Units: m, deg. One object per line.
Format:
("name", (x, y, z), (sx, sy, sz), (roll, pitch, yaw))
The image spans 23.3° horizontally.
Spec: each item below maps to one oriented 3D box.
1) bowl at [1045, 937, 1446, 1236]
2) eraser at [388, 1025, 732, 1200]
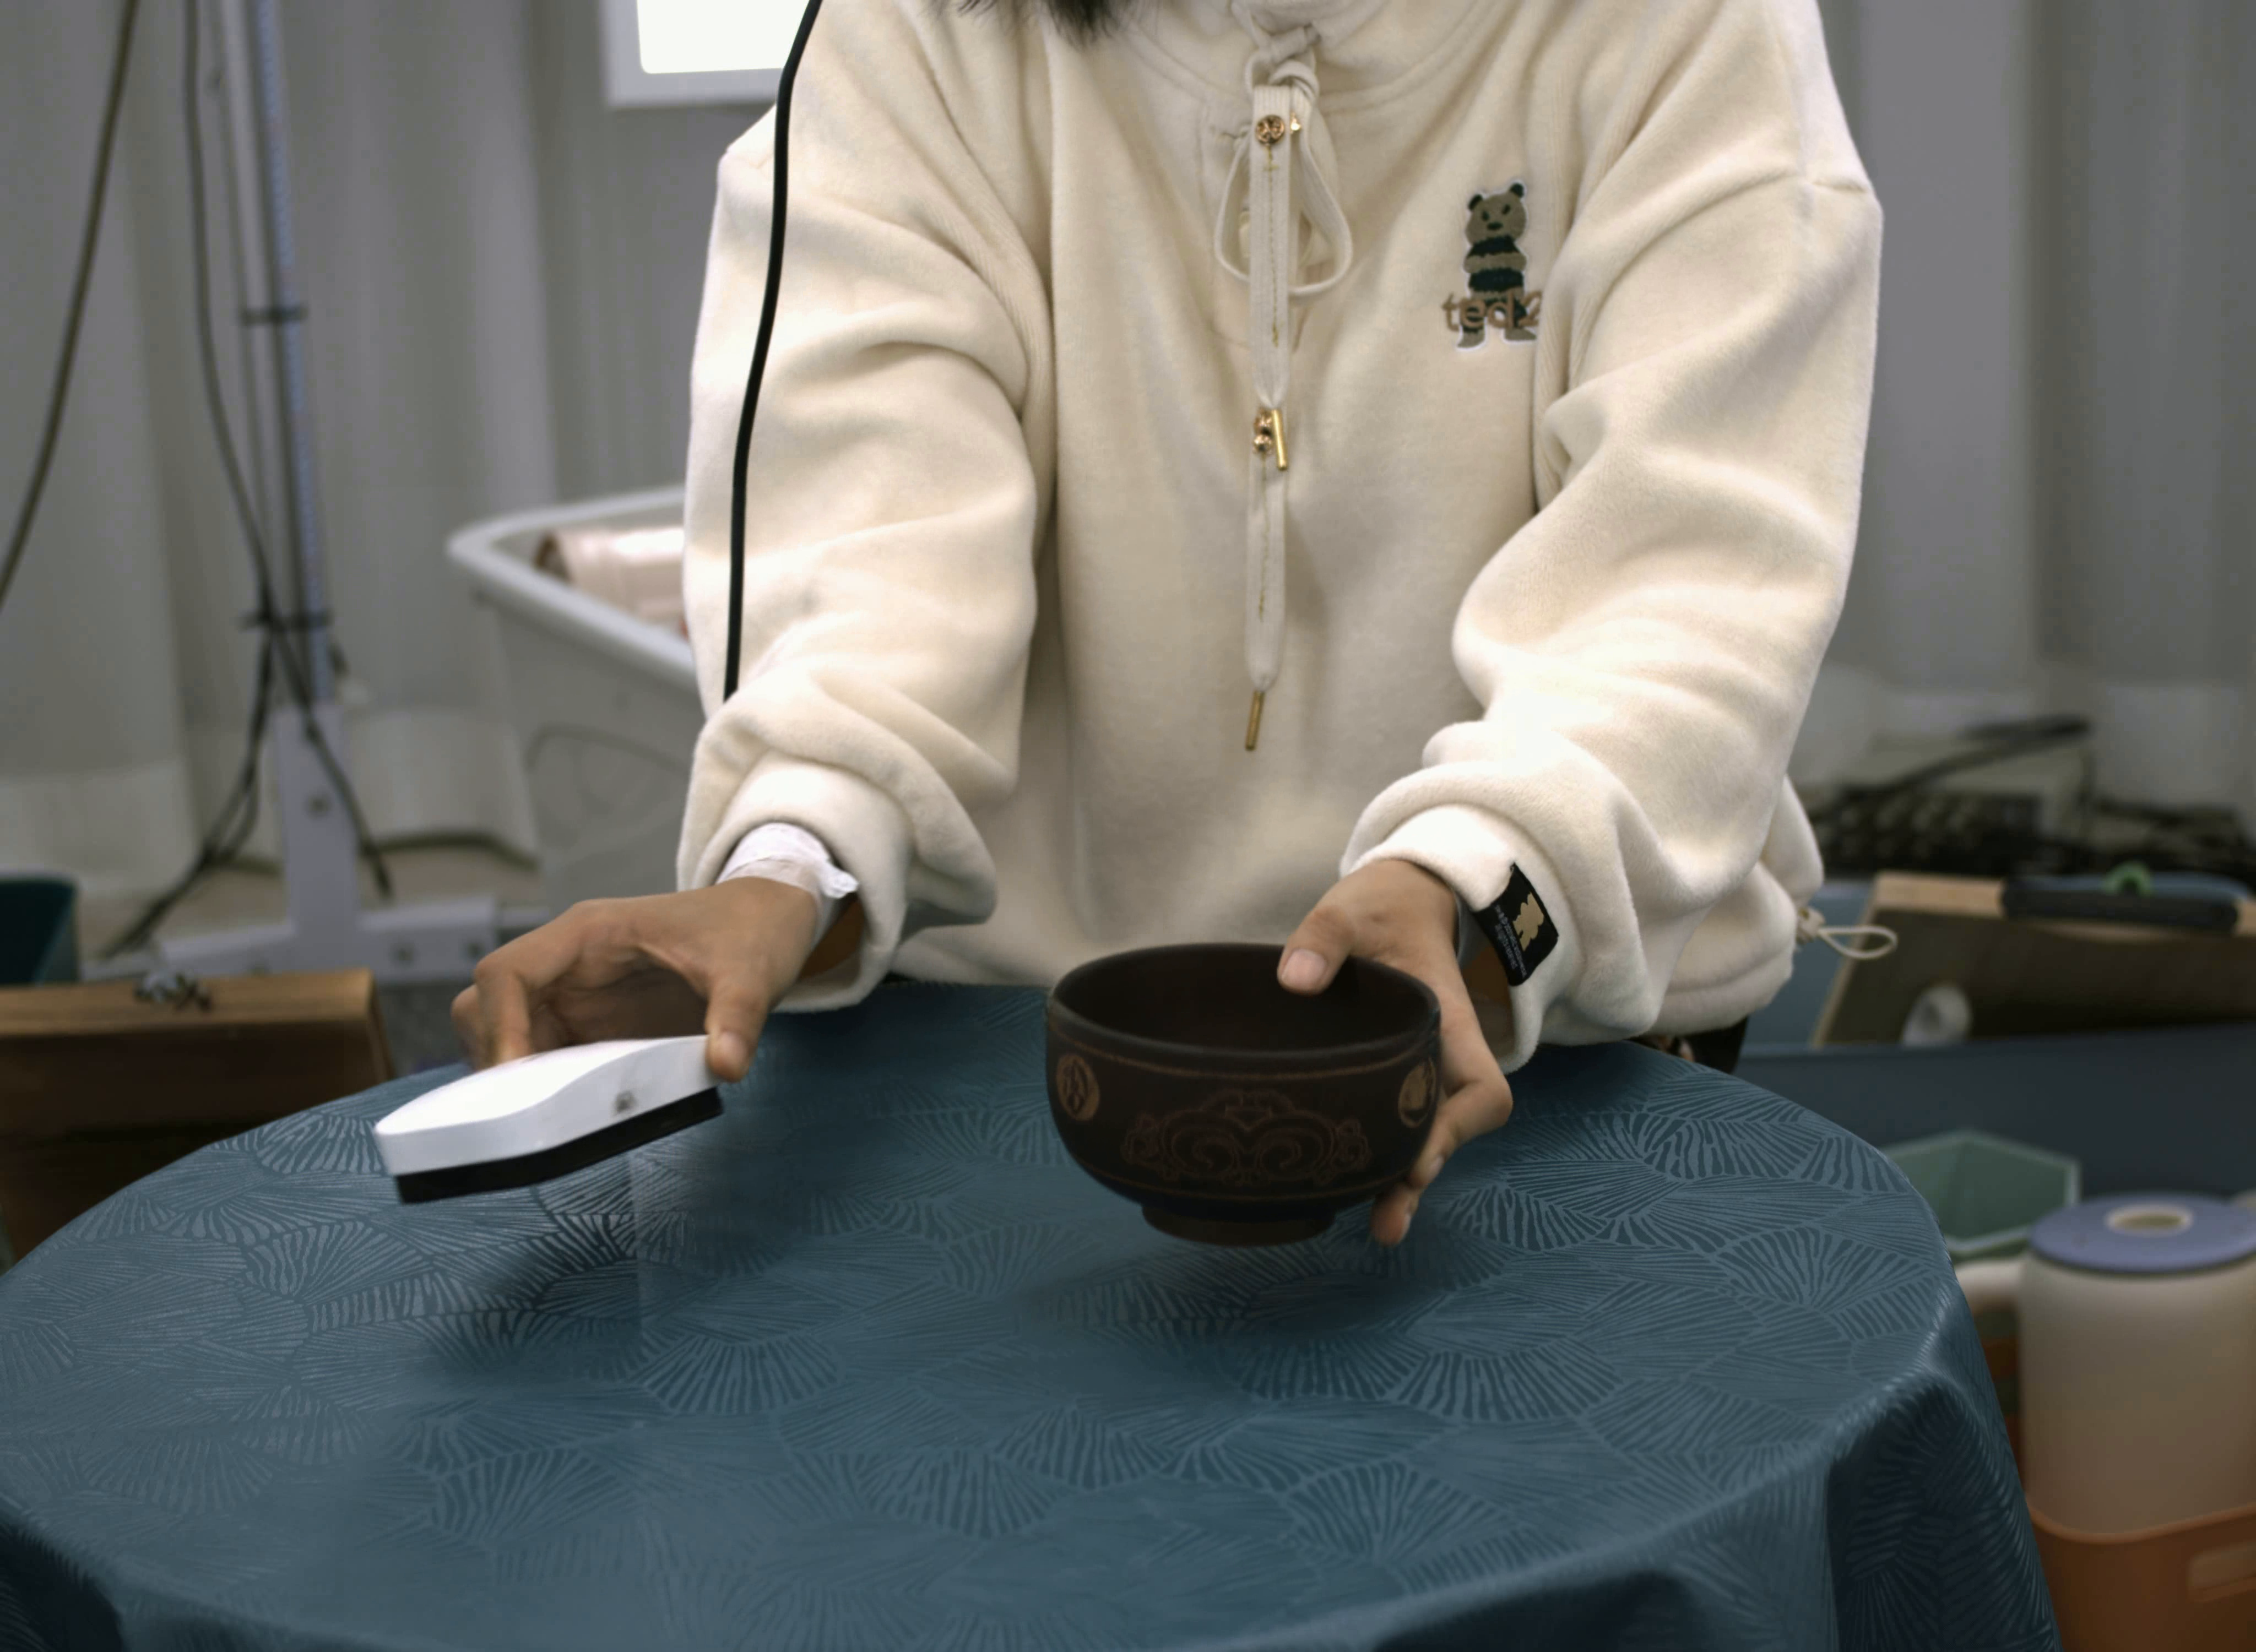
("bowl", (0.034, 0.080, 1.609), (0.117, 0.069, 0.118), (3, 12, -1))
("eraser", (-0.168, 0.084, 1.655), (0.063, 0.034, 0.131), (-9, 4, 24))
